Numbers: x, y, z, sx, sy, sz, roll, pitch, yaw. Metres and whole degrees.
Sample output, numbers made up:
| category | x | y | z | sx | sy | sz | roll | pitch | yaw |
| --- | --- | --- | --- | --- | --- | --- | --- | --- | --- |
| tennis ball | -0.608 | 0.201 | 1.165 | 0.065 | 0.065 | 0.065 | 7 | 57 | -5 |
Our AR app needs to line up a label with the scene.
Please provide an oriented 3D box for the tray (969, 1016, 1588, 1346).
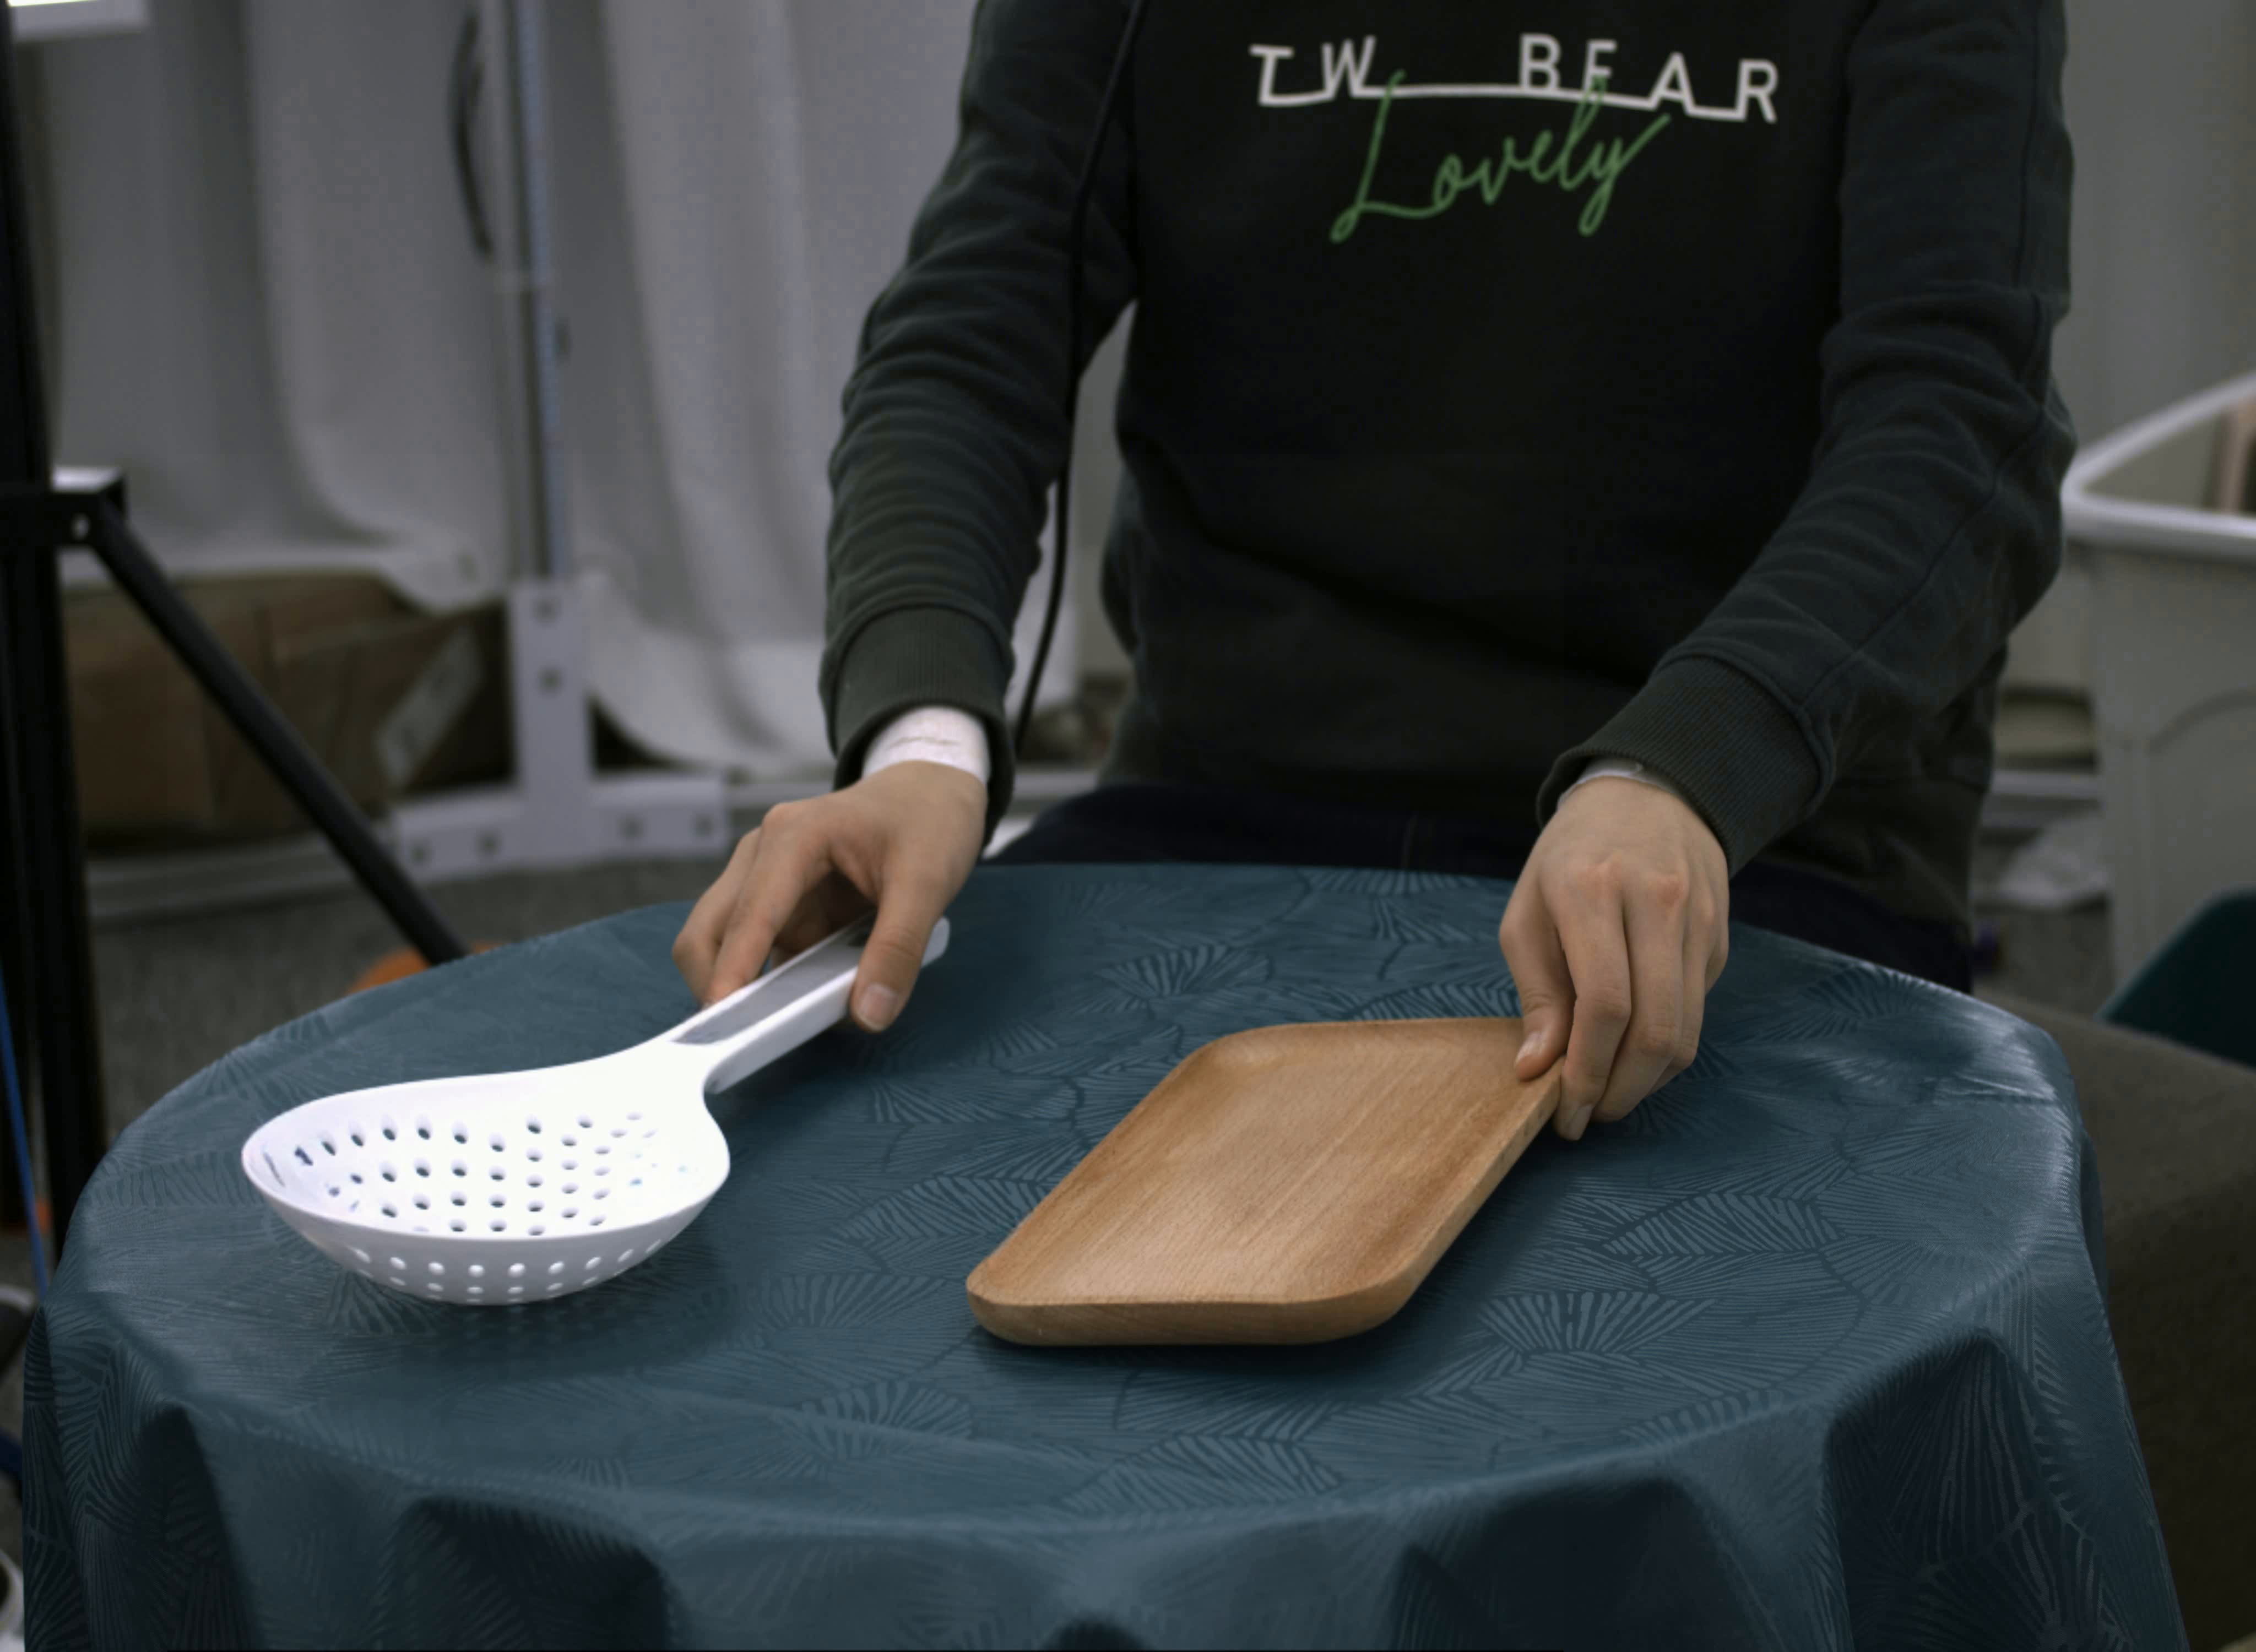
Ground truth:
| category | x | y | z | sx | sy | sz | roll | pitch | yaw |
| --- | --- | --- | --- | --- | --- | --- | --- | --- | --- |
| tray | 0.048 | 0.100 | 1.527 | 0.132 | 0.023 | 0.248 | -1 | 15 | 20 |

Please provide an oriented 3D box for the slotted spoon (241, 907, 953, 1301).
| category | x | y | z | sx | sy | sz | roll | pitch | yaw |
| --- | --- | --- | --- | --- | --- | --- | --- | --- | --- |
| slotted spoon | -0.138 | 0.074 | 1.594 | 0.138 | 0.046 | 0.345 | 10 | 22 | 22 |
